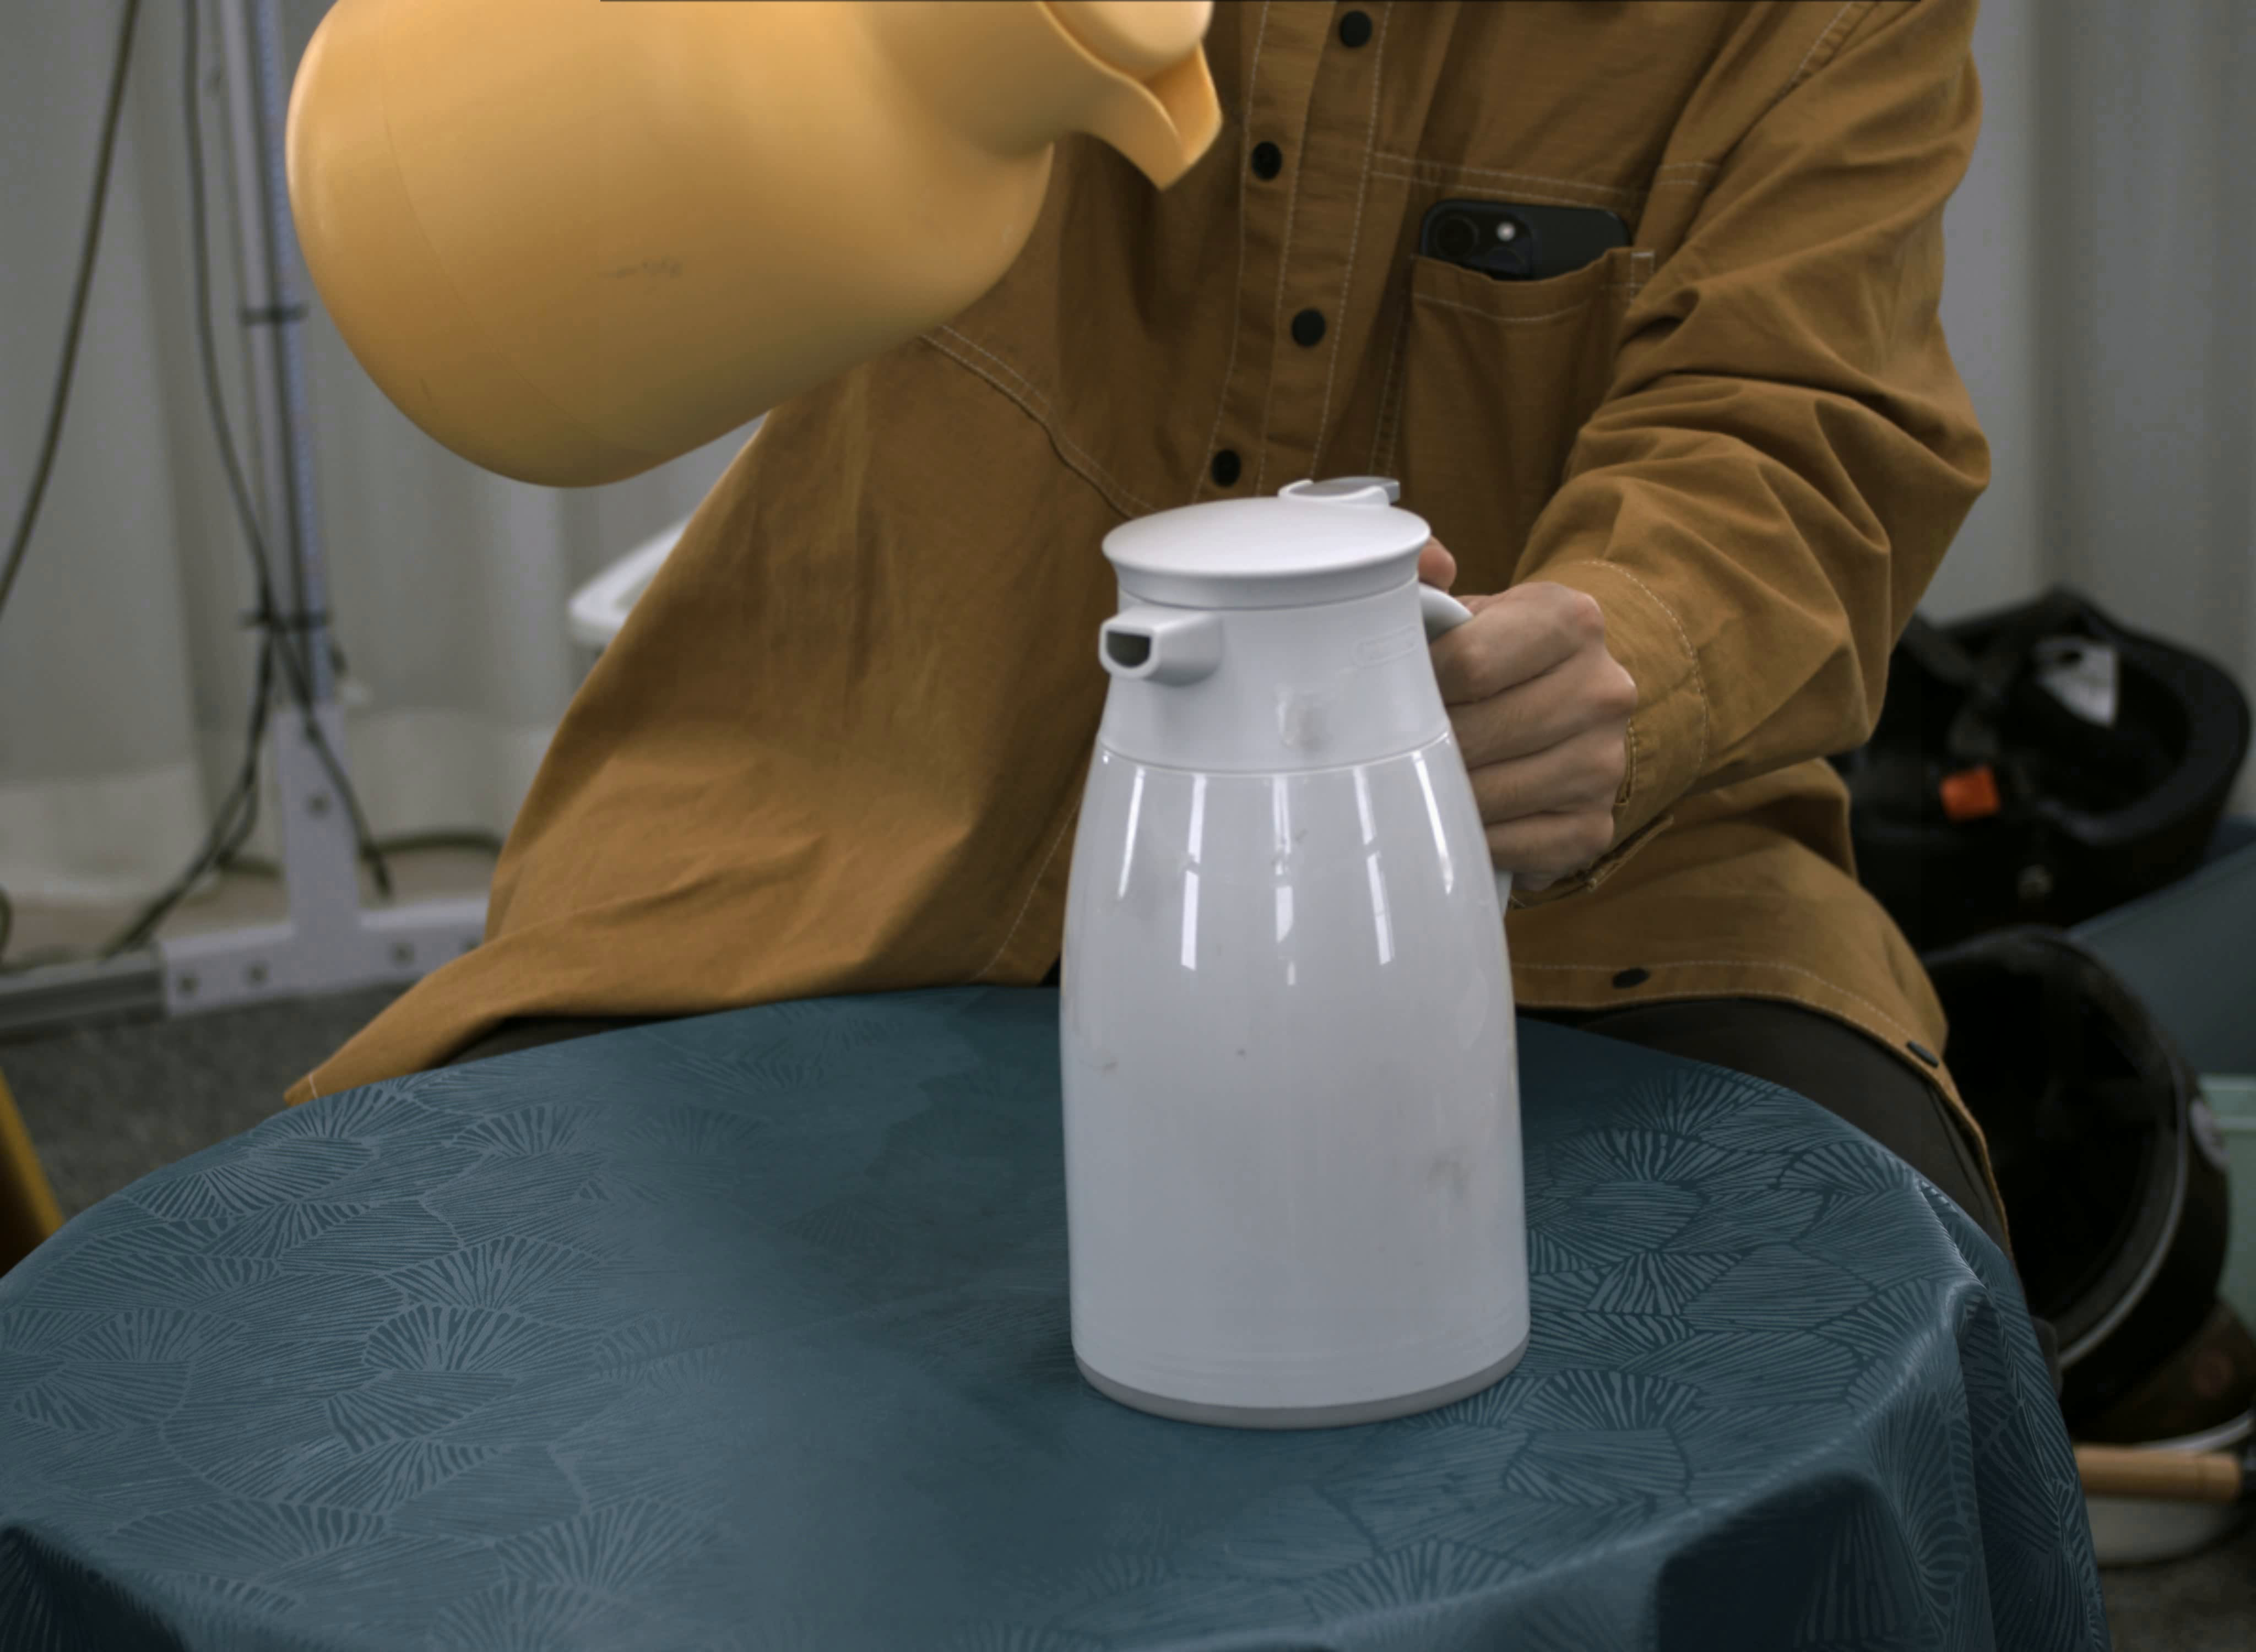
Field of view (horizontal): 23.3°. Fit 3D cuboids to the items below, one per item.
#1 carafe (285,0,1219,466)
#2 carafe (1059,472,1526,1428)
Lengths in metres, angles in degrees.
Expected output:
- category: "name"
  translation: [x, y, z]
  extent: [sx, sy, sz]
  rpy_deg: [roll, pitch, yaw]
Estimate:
- category: "carafe"
  translation: [-0.107, -0.226, 1.533]
  extent: [0.260, 0.202, 0.164]
  rpy_deg: [-19, 11, 30]
- category: "carafe"
  translation: [0.055, 0.026, 1.557]
  extent: [0.133, 0.248, 0.167]
  rpy_deg: [8, 17, 38]
